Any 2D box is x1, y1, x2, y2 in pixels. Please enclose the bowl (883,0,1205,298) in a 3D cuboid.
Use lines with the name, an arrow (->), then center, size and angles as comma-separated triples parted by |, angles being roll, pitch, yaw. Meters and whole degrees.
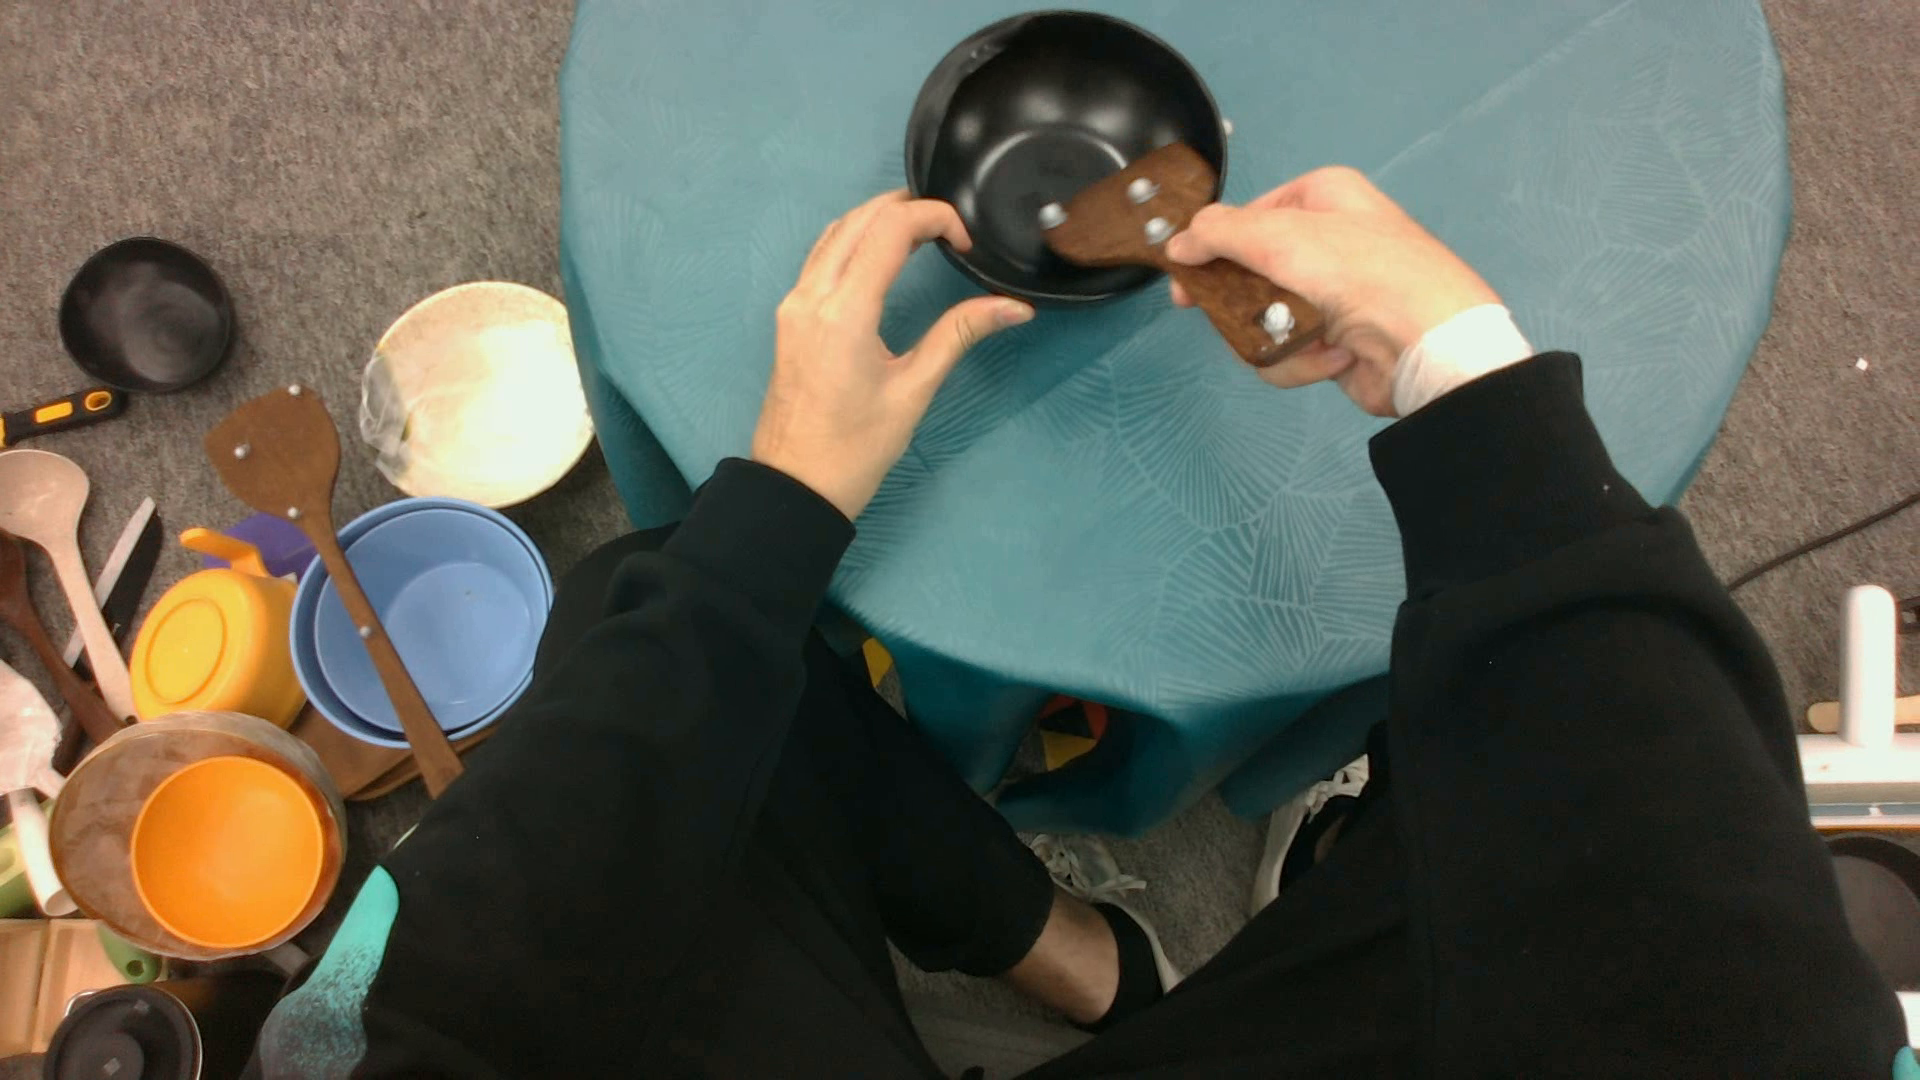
bowl -> 0.035, -0.166, 0.611 | 0.140, 0.049, 0.140 | 1, 77, -3

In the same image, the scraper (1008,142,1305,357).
scraper -> 0.077, -0.112, 0.530 | 0.076, 0.212, 0.011 | -30, 120, 2
